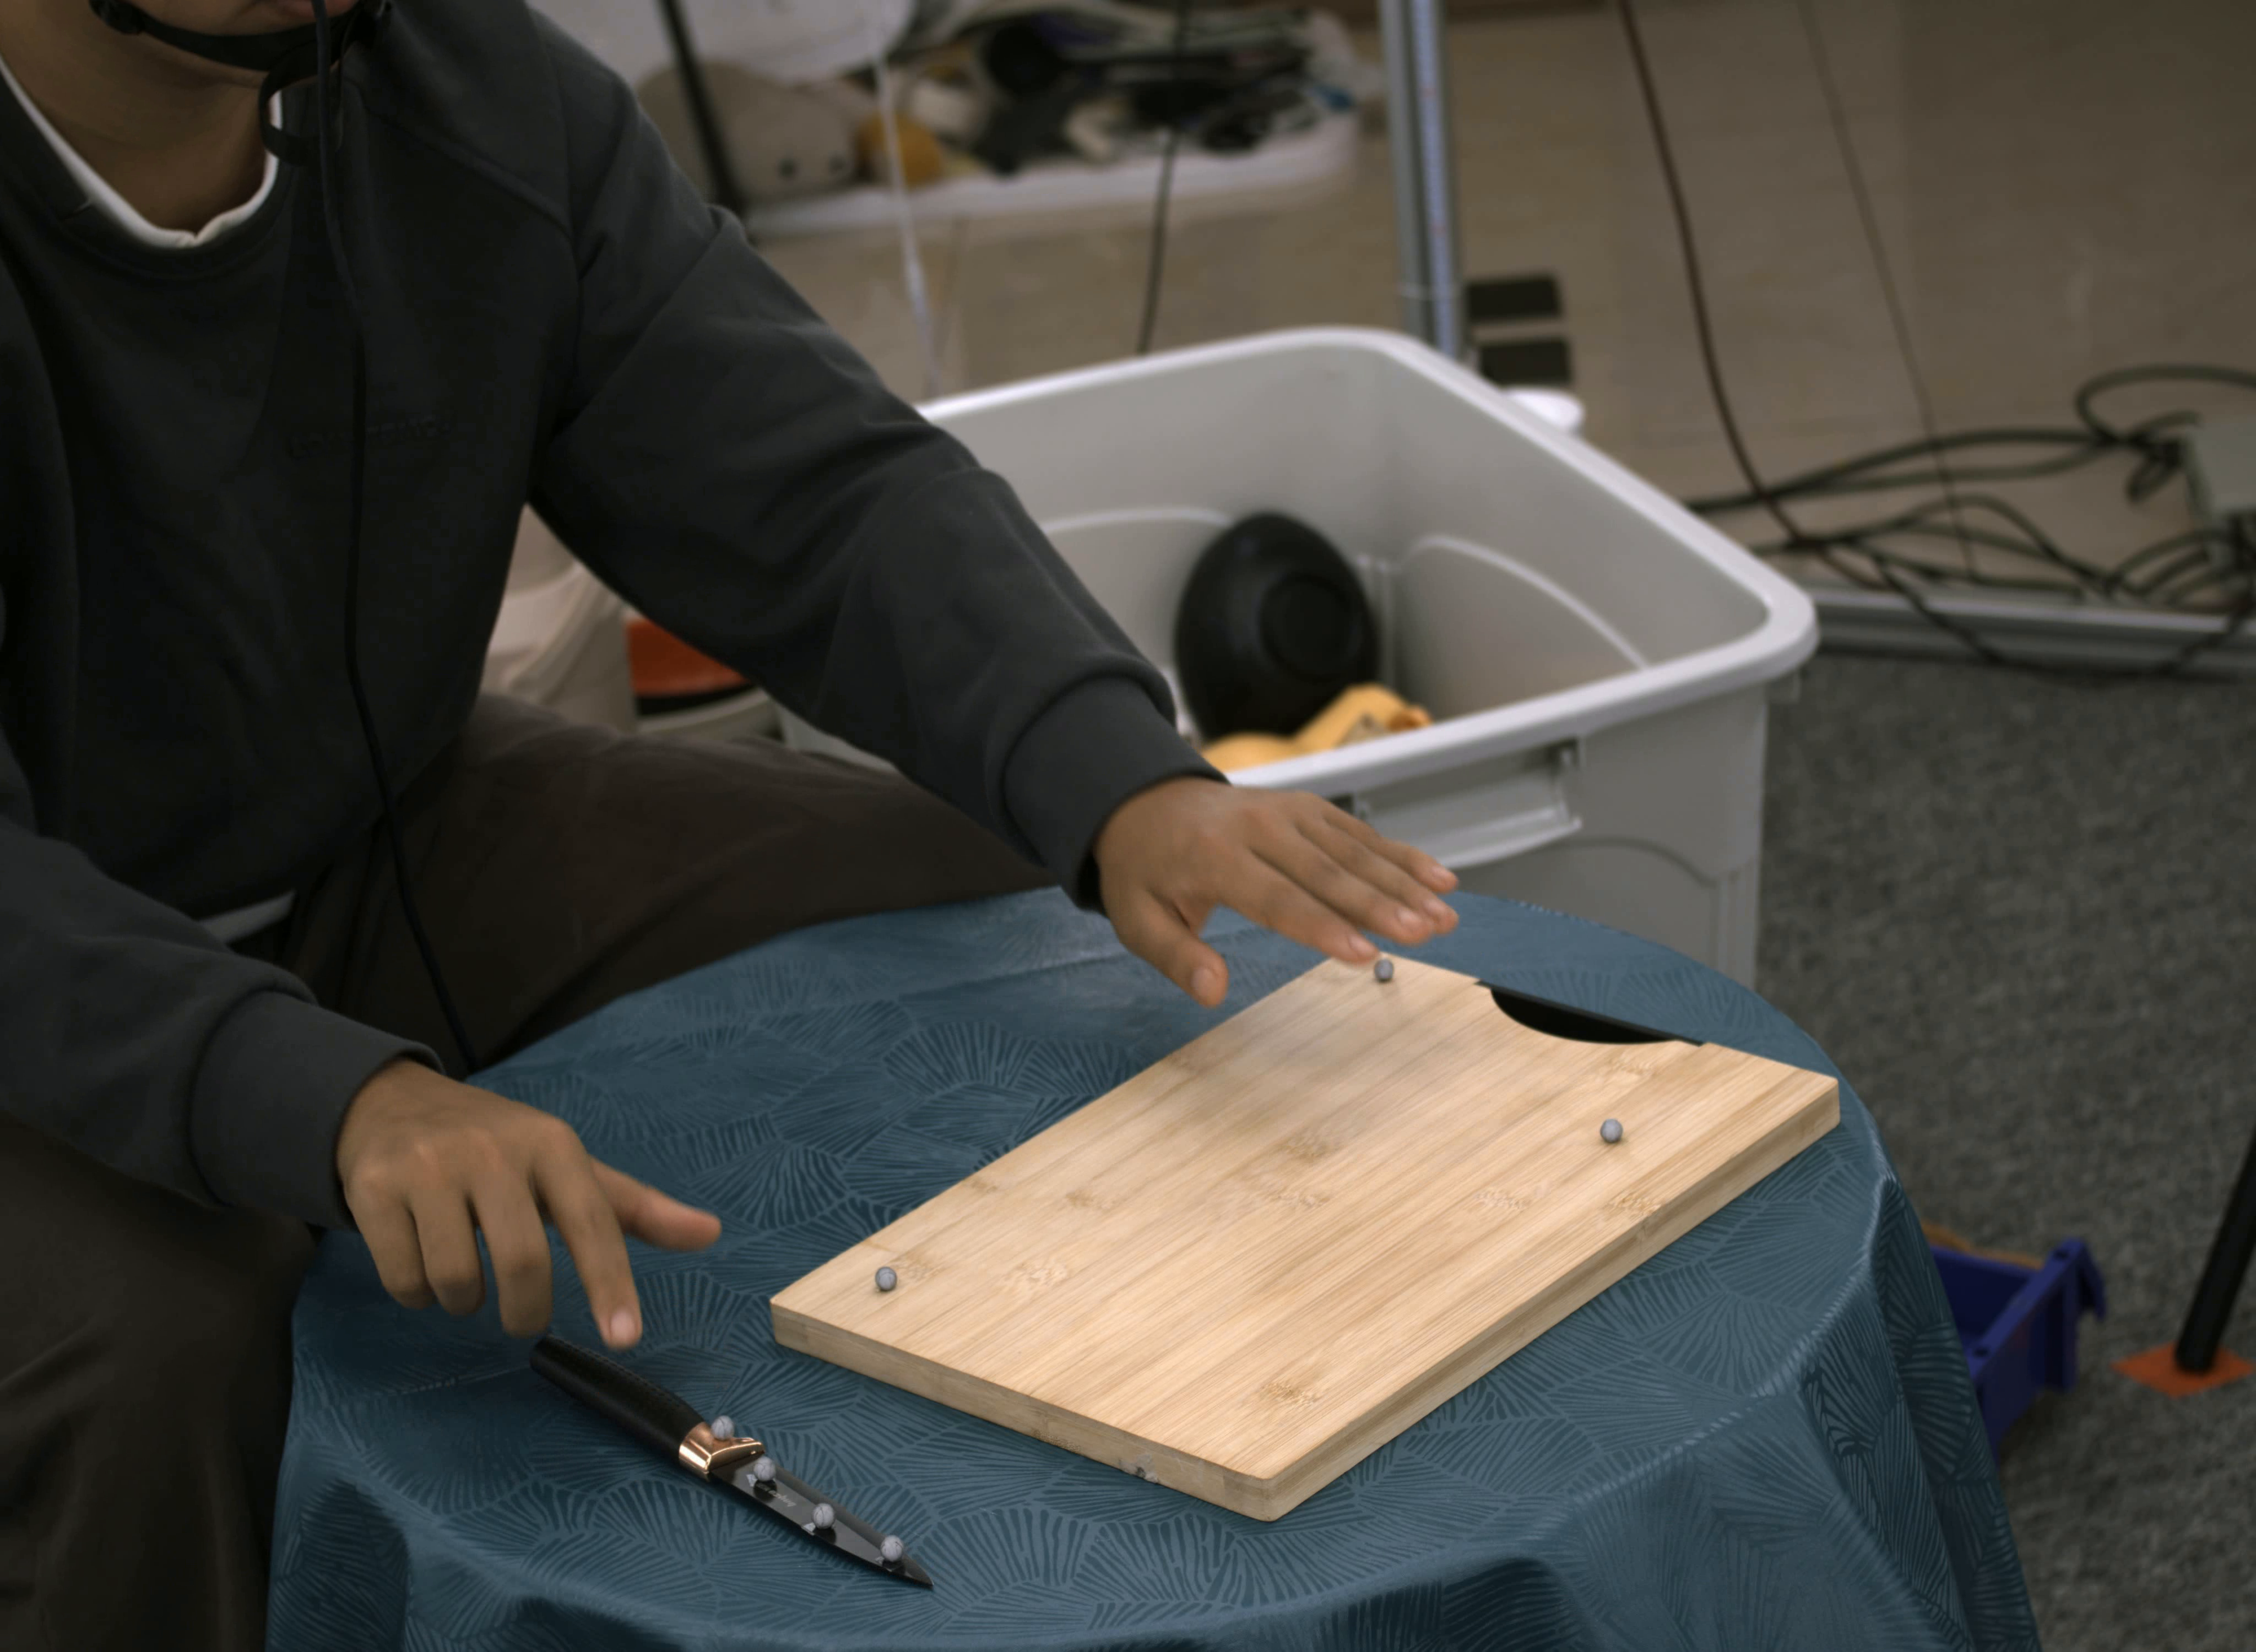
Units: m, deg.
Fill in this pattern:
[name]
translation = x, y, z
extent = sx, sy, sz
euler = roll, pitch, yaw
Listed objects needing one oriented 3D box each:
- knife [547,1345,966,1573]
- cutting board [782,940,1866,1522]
[knife]
translation = -0.133, 0.222, 1.986
extent = 0.026, 0.017, 0.223
euler = -18, 27, -37
[cutting board]
translation = 0.074, 0.141, 2.106
extent = 0.249, 0.024, 0.345
euler = 15, 33, 39
